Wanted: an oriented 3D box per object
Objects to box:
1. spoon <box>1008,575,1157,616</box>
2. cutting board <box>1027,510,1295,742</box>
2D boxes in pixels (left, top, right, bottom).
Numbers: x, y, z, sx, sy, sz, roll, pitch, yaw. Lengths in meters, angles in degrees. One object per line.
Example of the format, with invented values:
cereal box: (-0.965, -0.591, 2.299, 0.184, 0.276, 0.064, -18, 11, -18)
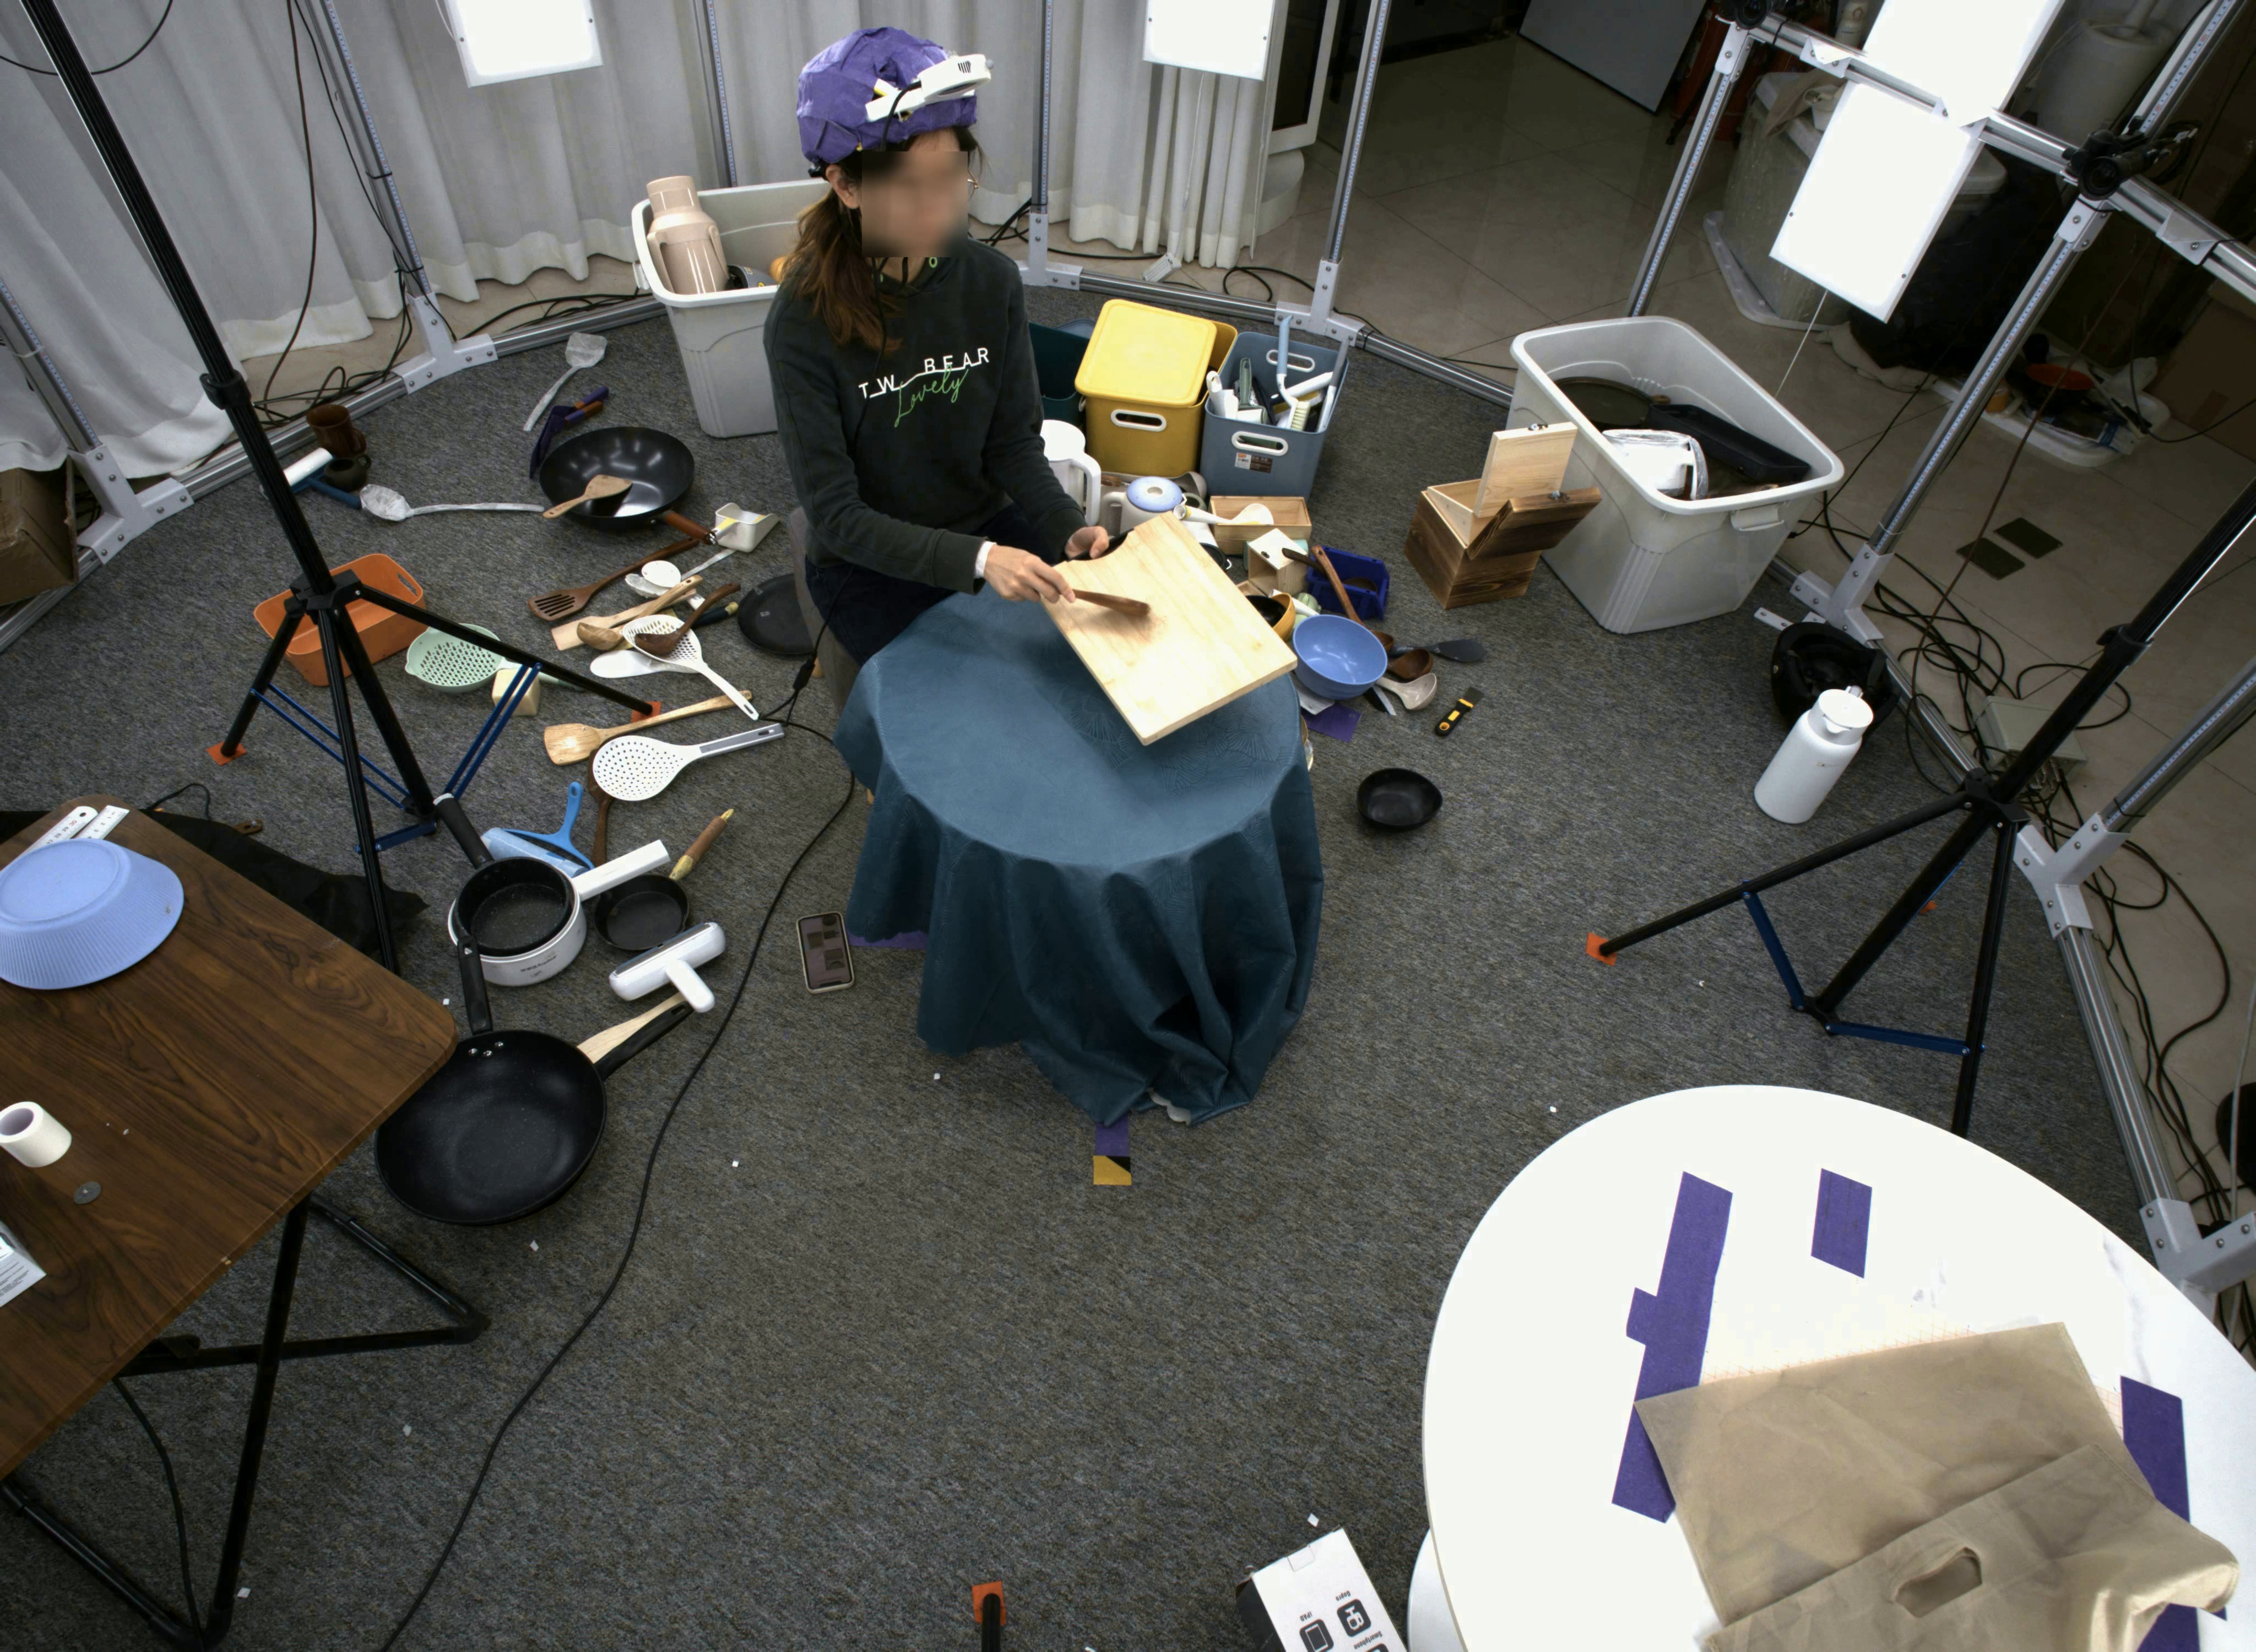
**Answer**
spoon: (-0.065, -0.319, 1.789, 0.217, 0.017, 0.075, 15, 7, 12)
cutting board: (0.040, -0.288, 1.805, 0.251, 0.023, 0.356, -28, 57, -12)
